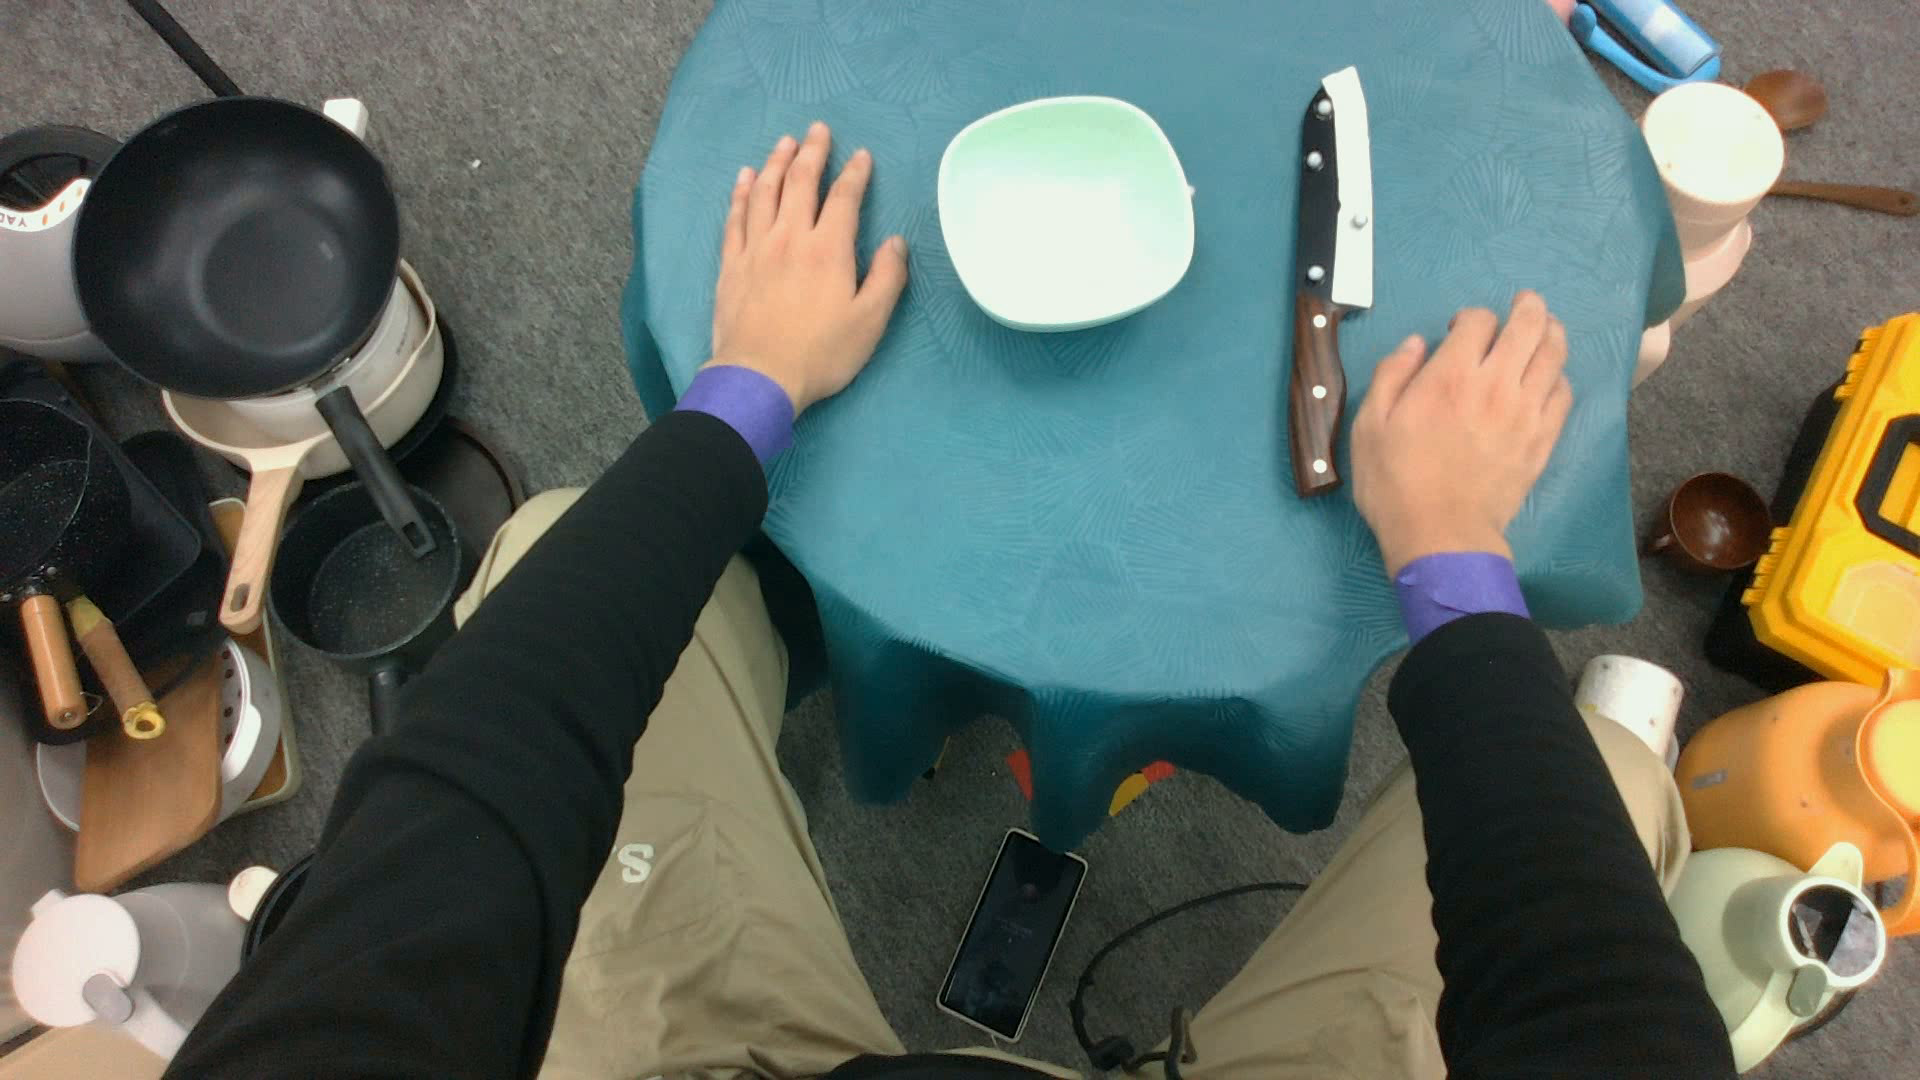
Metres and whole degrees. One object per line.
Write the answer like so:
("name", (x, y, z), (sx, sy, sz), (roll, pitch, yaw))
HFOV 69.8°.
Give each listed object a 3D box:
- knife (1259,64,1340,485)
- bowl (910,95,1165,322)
("knife", (0.199, -0.165, 0.809), (0.050, 0.020, 0.290), (10, 69, -4))
("bowl", (0.042, -0.179, 0.790), (0.151, 0.058, 0.152), (0, 70, -1))
